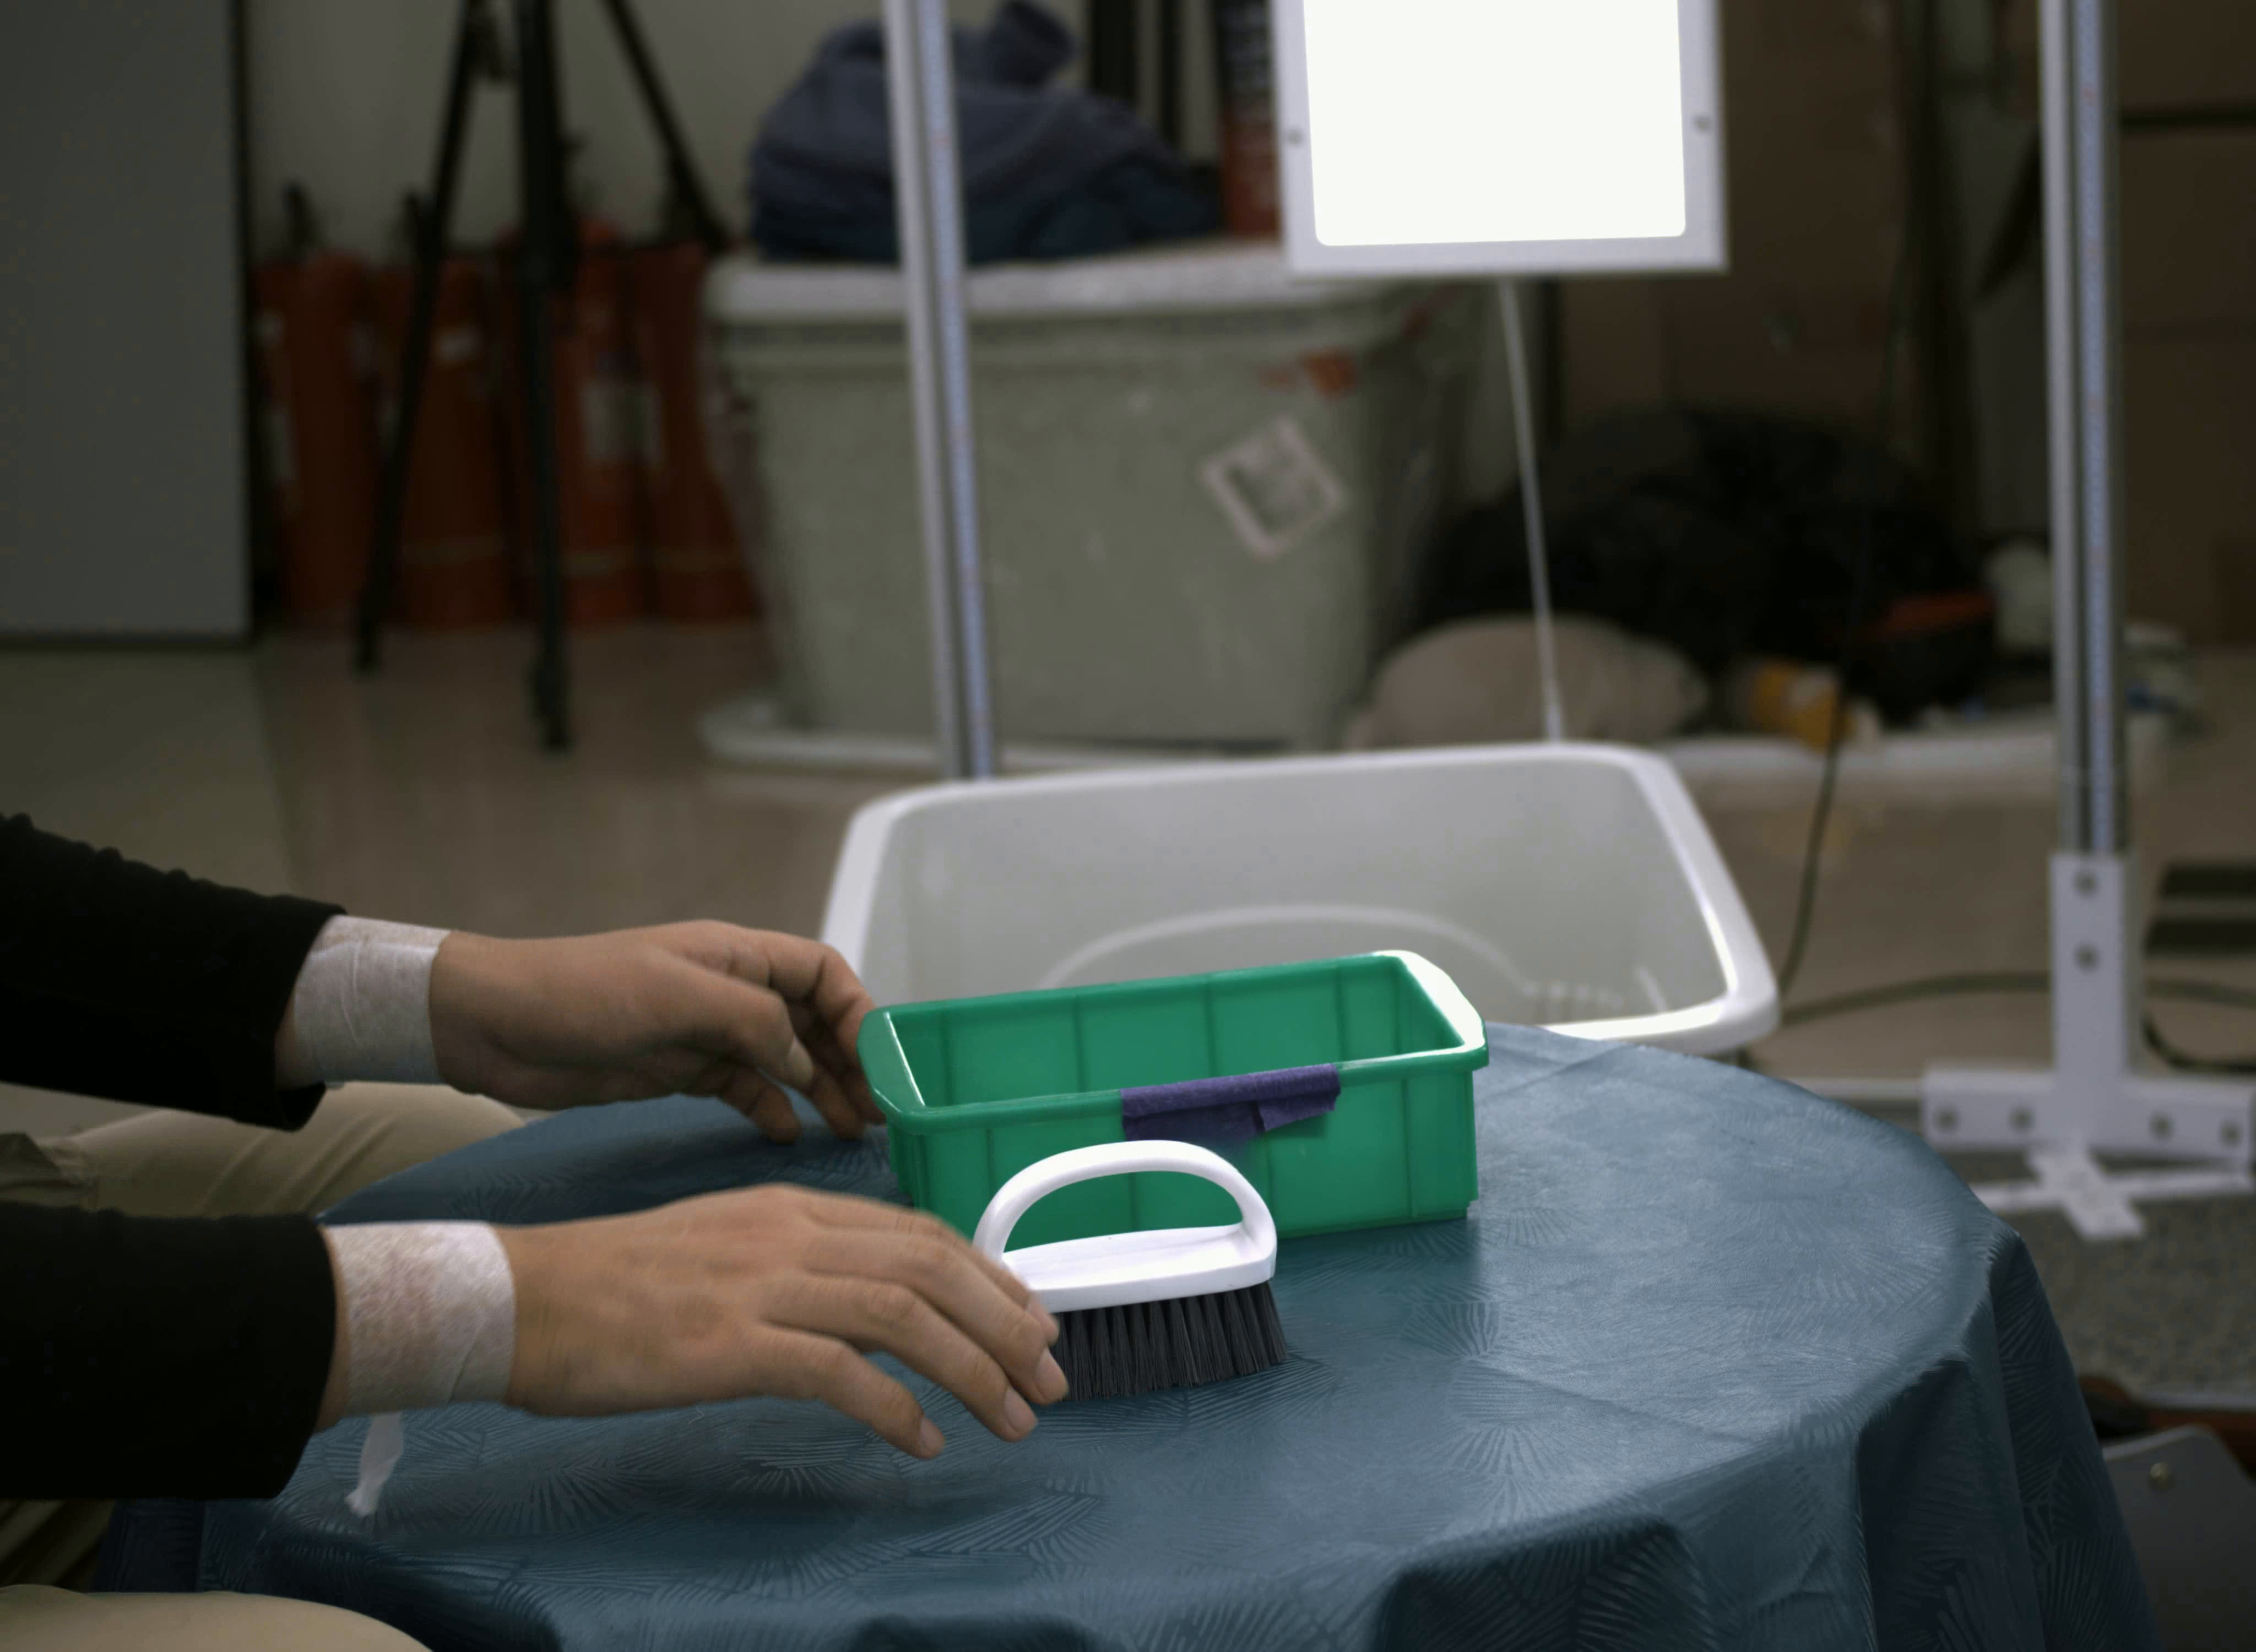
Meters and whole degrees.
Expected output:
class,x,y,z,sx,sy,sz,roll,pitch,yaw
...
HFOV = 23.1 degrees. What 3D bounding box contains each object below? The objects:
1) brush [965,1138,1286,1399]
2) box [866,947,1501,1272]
class,x,y,z,sx,sy,sz,roll,pitch,yaw
brush,-0.002,0.134,1.715,0.098,0.073,0.050,-6,15,-4
box,0.019,0.097,1.882,0.209,0.065,0.139,-6,16,-7
